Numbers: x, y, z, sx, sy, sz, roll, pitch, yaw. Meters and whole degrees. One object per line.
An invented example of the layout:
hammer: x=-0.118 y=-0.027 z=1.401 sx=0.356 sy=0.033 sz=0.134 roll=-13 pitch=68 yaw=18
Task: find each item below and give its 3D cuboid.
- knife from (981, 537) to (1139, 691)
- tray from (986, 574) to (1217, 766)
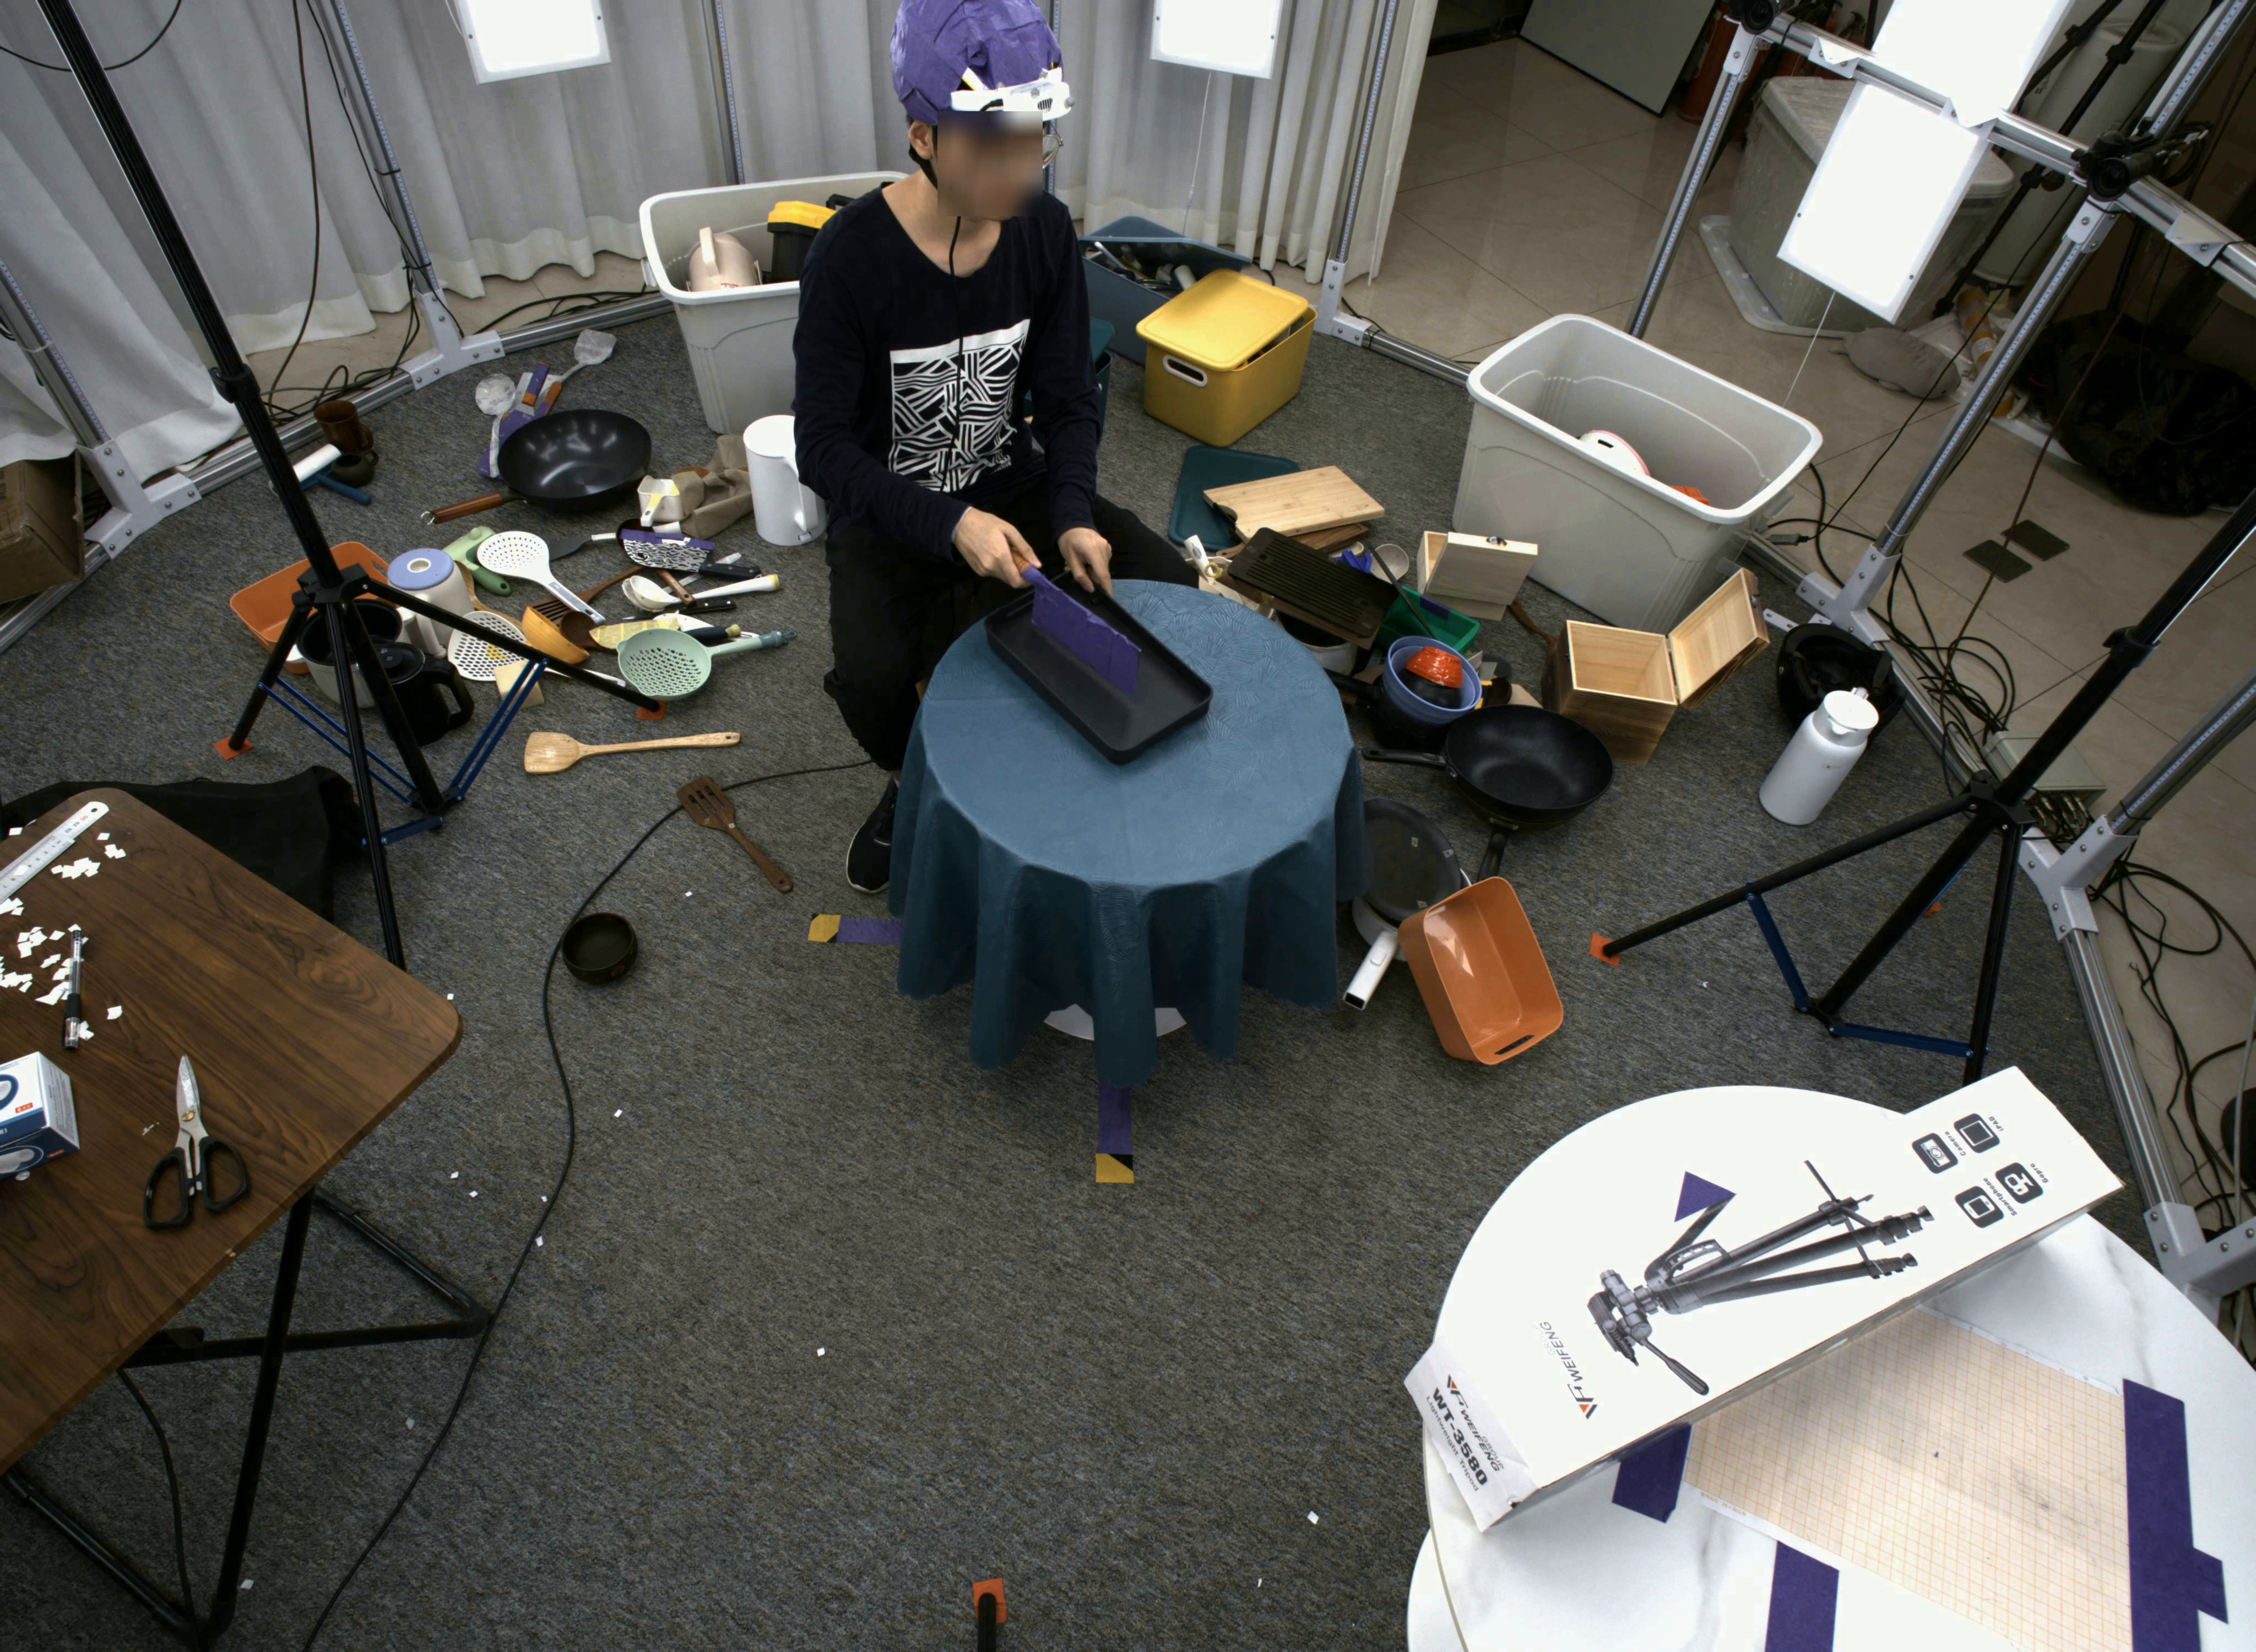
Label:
knife: x=-0.099 y=-0.297 z=1.819 sx=0.032 sy=0.101 sz=0.320 roll=-30 pitch=56 yaw=-33
tray: x=-0.041 y=-0.228 z=1.826 sx=0.185 sy=0.036 sz=0.323 roll=-34 pitch=60 yaw=-23
